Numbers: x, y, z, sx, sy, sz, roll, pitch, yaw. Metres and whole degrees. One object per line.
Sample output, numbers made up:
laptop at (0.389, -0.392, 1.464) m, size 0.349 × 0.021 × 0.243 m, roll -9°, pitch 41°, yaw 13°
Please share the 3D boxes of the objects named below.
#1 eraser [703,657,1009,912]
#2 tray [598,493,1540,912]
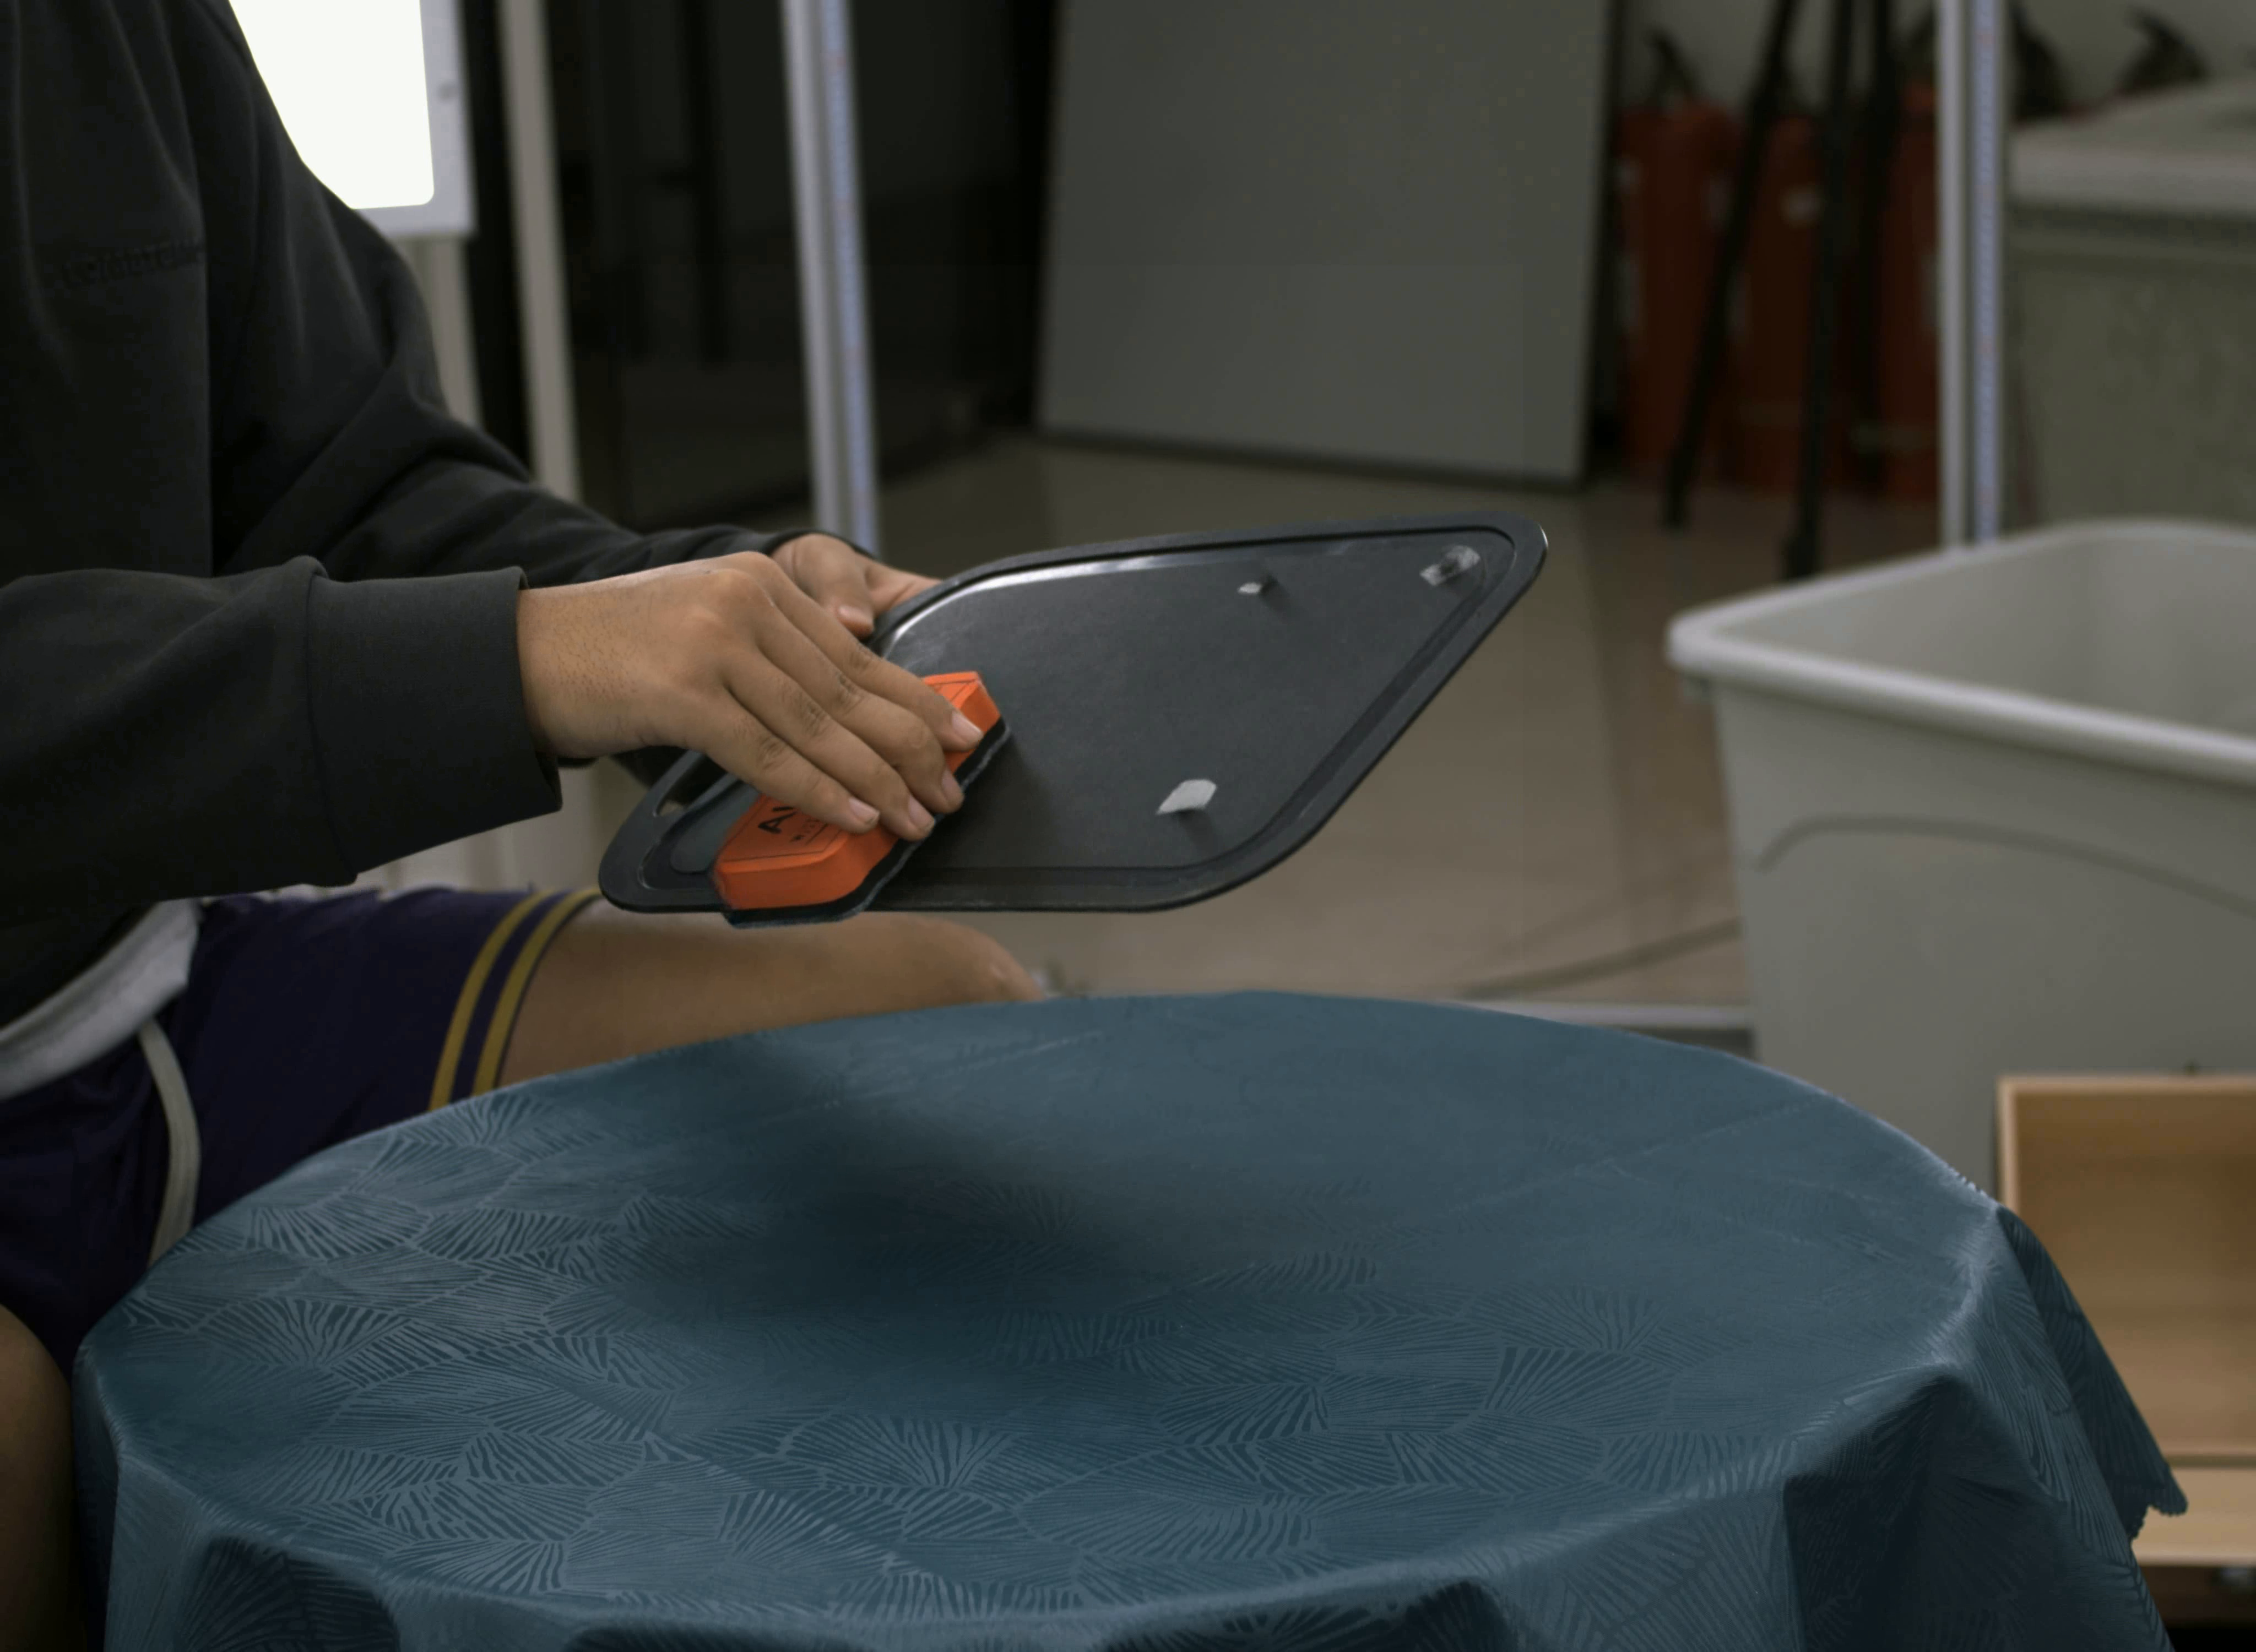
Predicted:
eraser at (-0.085, -0.013, 1.694) m, size 0.059 × 0.023 × 0.107 m, roll -7°, pitch 30°, yaw 38°
tray at (-0.030, -0.039, 1.722) m, size 0.328 × 0.010 × 0.209 m, roll -3°, pitch 35°, yaw 44°
